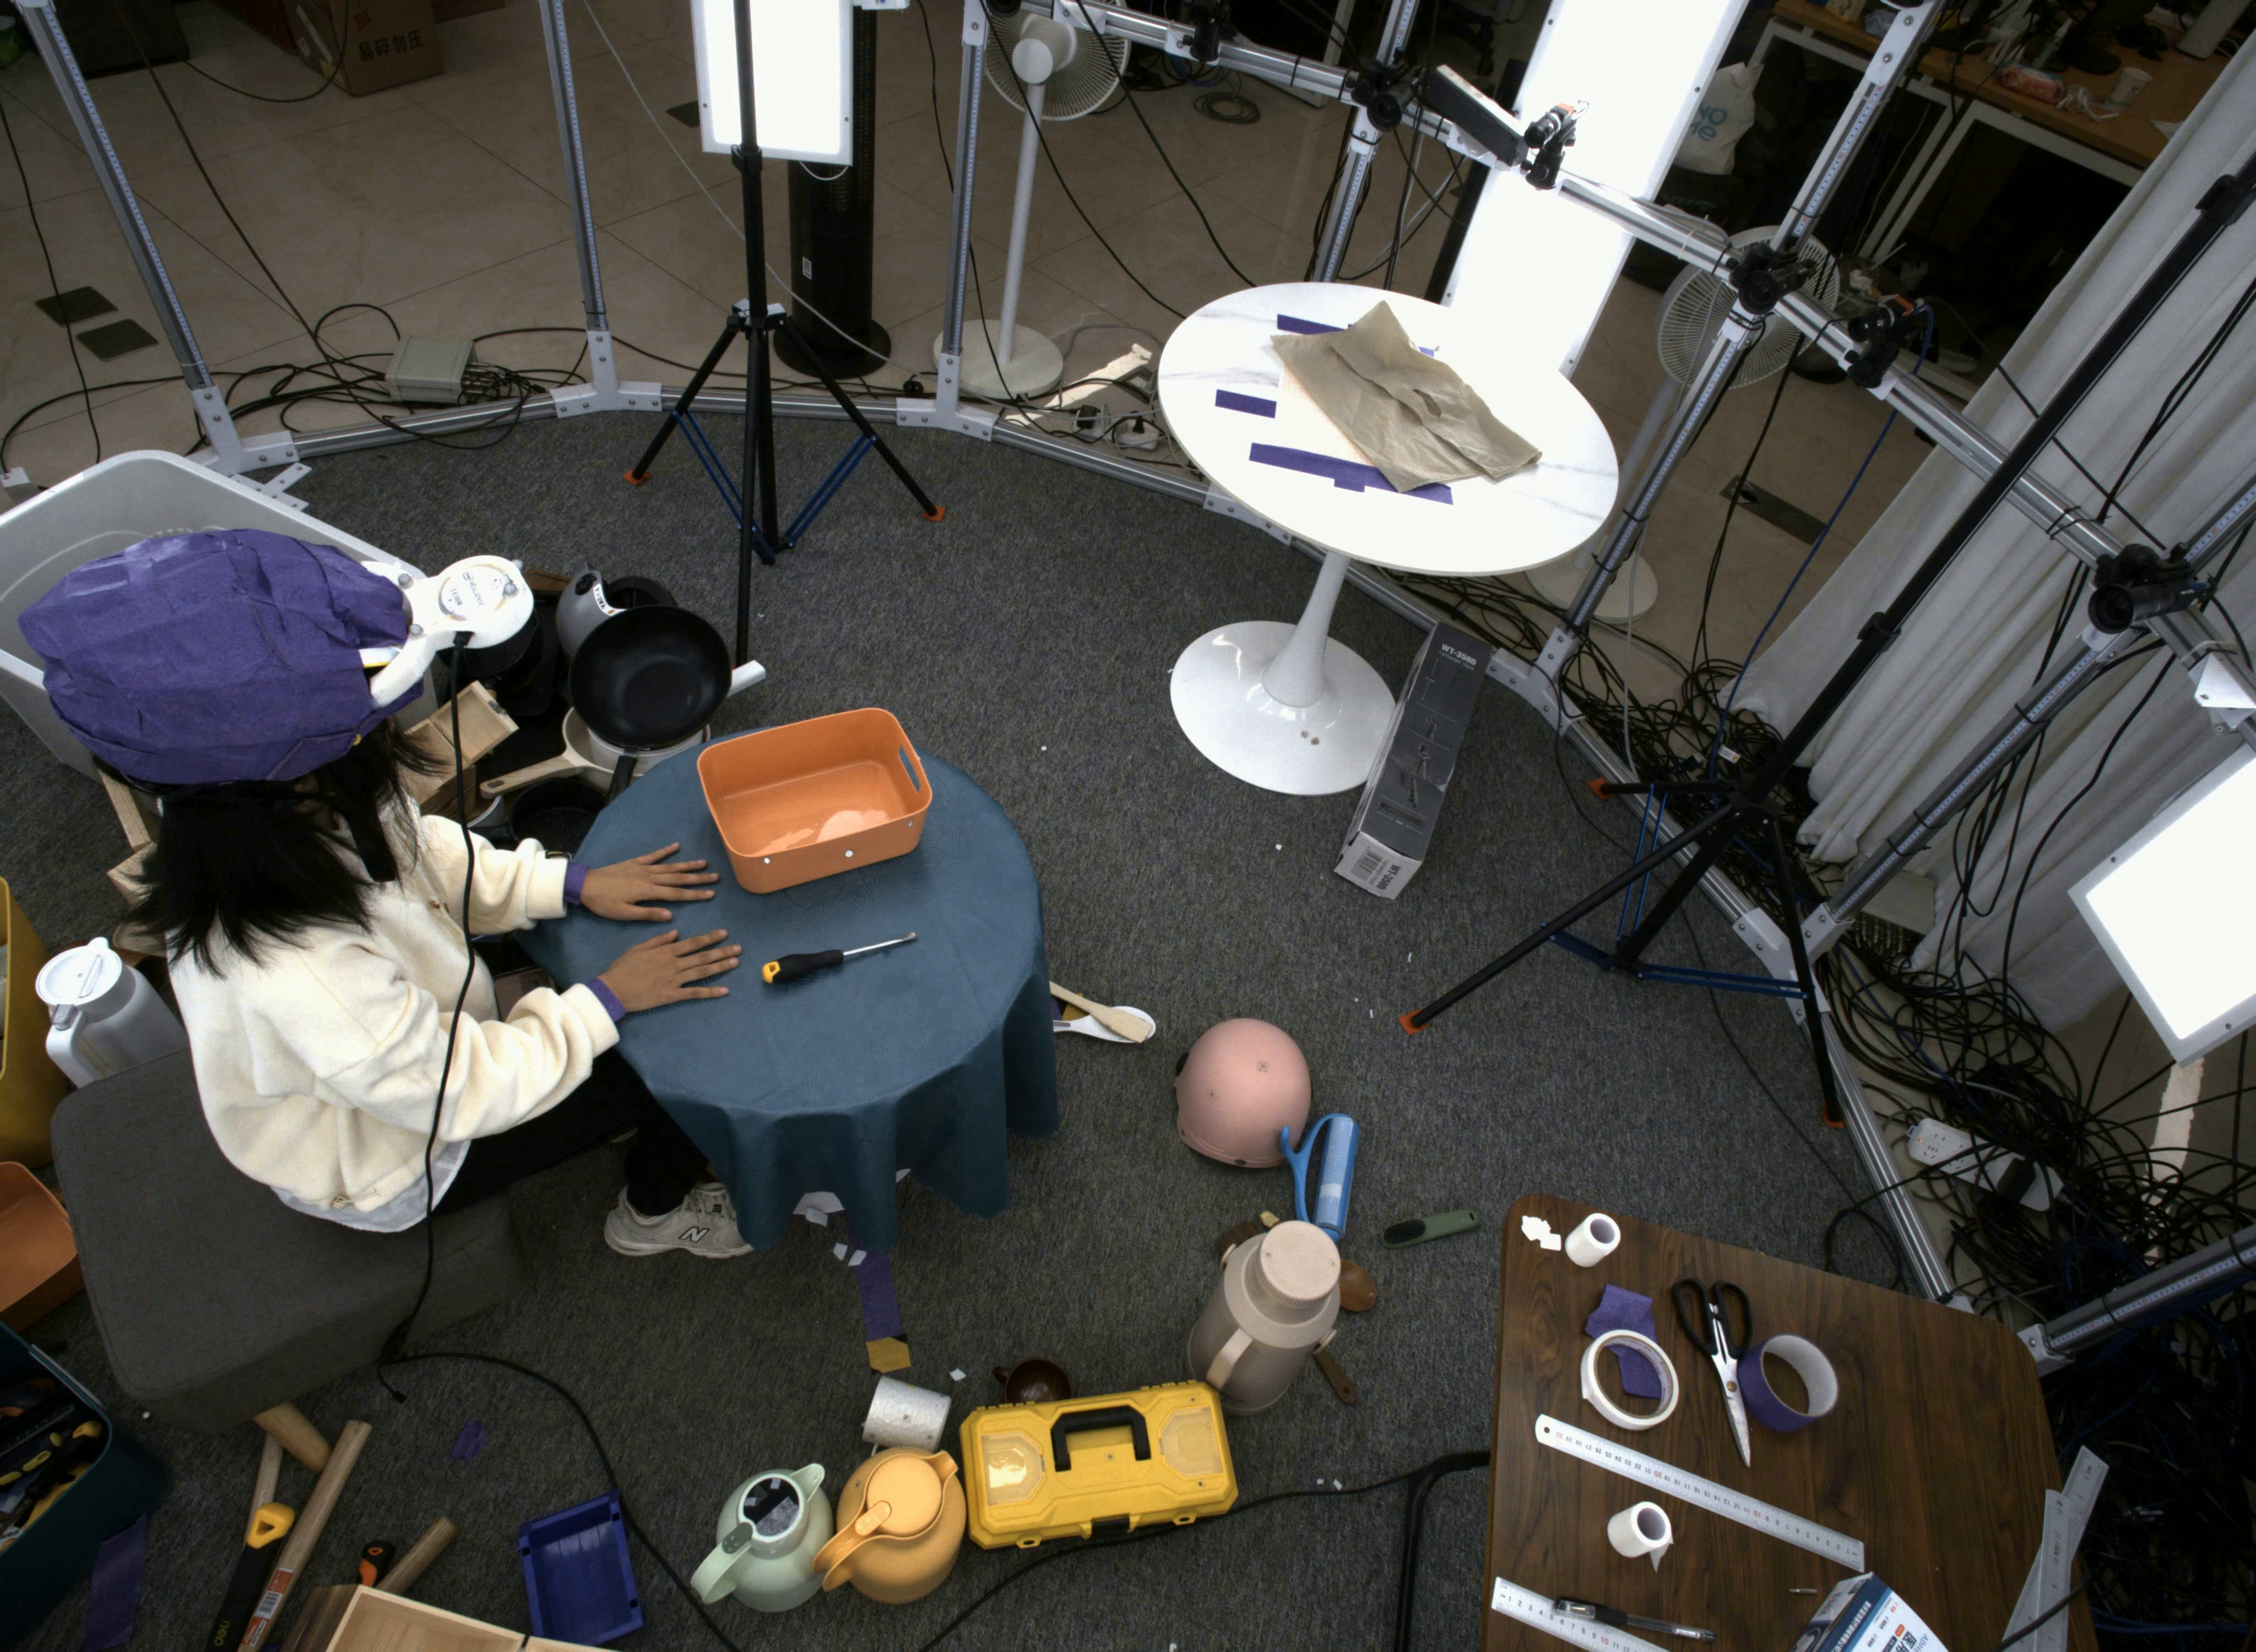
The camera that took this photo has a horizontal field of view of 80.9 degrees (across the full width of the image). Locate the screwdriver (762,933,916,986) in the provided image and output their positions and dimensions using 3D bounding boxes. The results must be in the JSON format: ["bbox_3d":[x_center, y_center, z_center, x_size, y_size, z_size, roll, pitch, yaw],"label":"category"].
[{"bbox_3d":[-0.354,0.161,1.604,0.199,0.032,0.030,-12,56,-26],"label":"screwdriver"}]

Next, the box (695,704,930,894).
[{"bbox_3d":[-0.408,-0.034,1.681,0.275,0.104,0.194,-17,60,-26],"label":"box"}]
